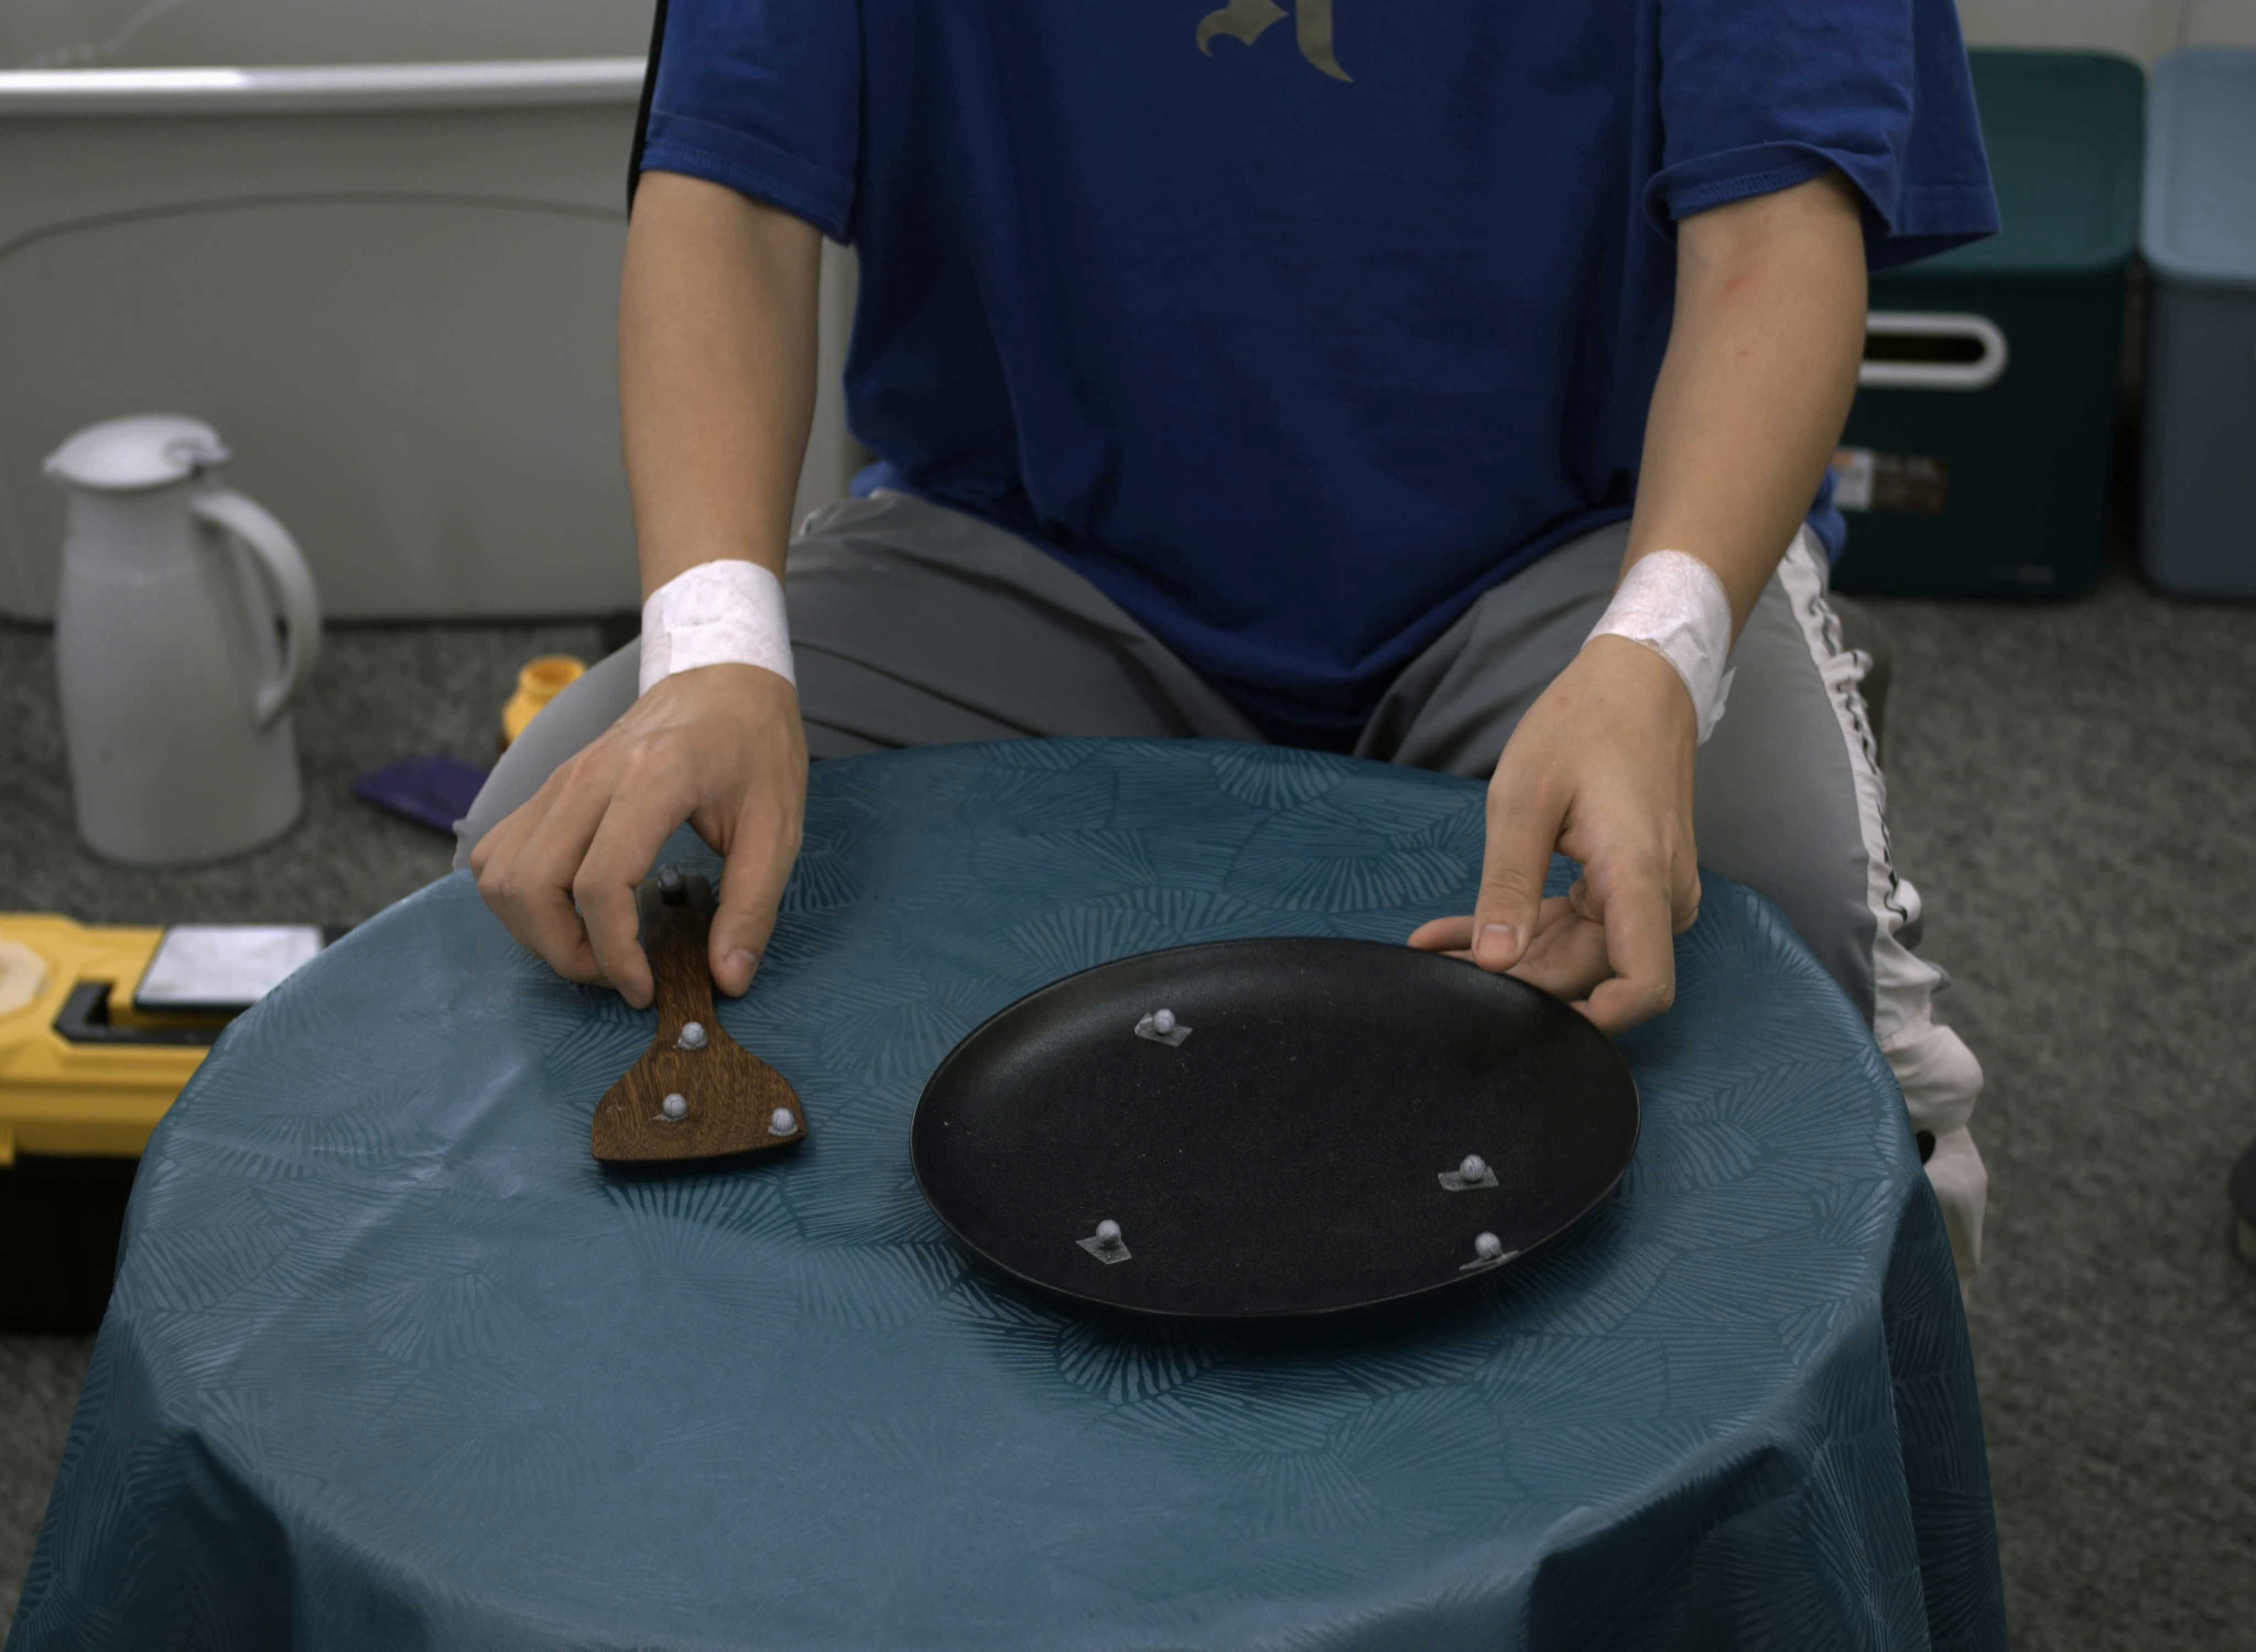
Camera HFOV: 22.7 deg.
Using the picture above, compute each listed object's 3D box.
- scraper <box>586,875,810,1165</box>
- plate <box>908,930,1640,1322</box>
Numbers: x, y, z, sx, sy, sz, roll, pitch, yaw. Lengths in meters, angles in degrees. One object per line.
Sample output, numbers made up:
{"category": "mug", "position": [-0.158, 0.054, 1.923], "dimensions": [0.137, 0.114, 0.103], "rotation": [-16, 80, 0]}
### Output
{"category": "scraper", "position": [-0.155, 0.068, 1.971], "dimensions": [0.075, 0.011, 0.214], "rotation": [-4, 27, -5]}
{"category": "plate", "position": [0.048, 0.103, 1.863], "dimensions": [0.243, 0.023, 0.248], "rotation": [-3, 28, 2]}
